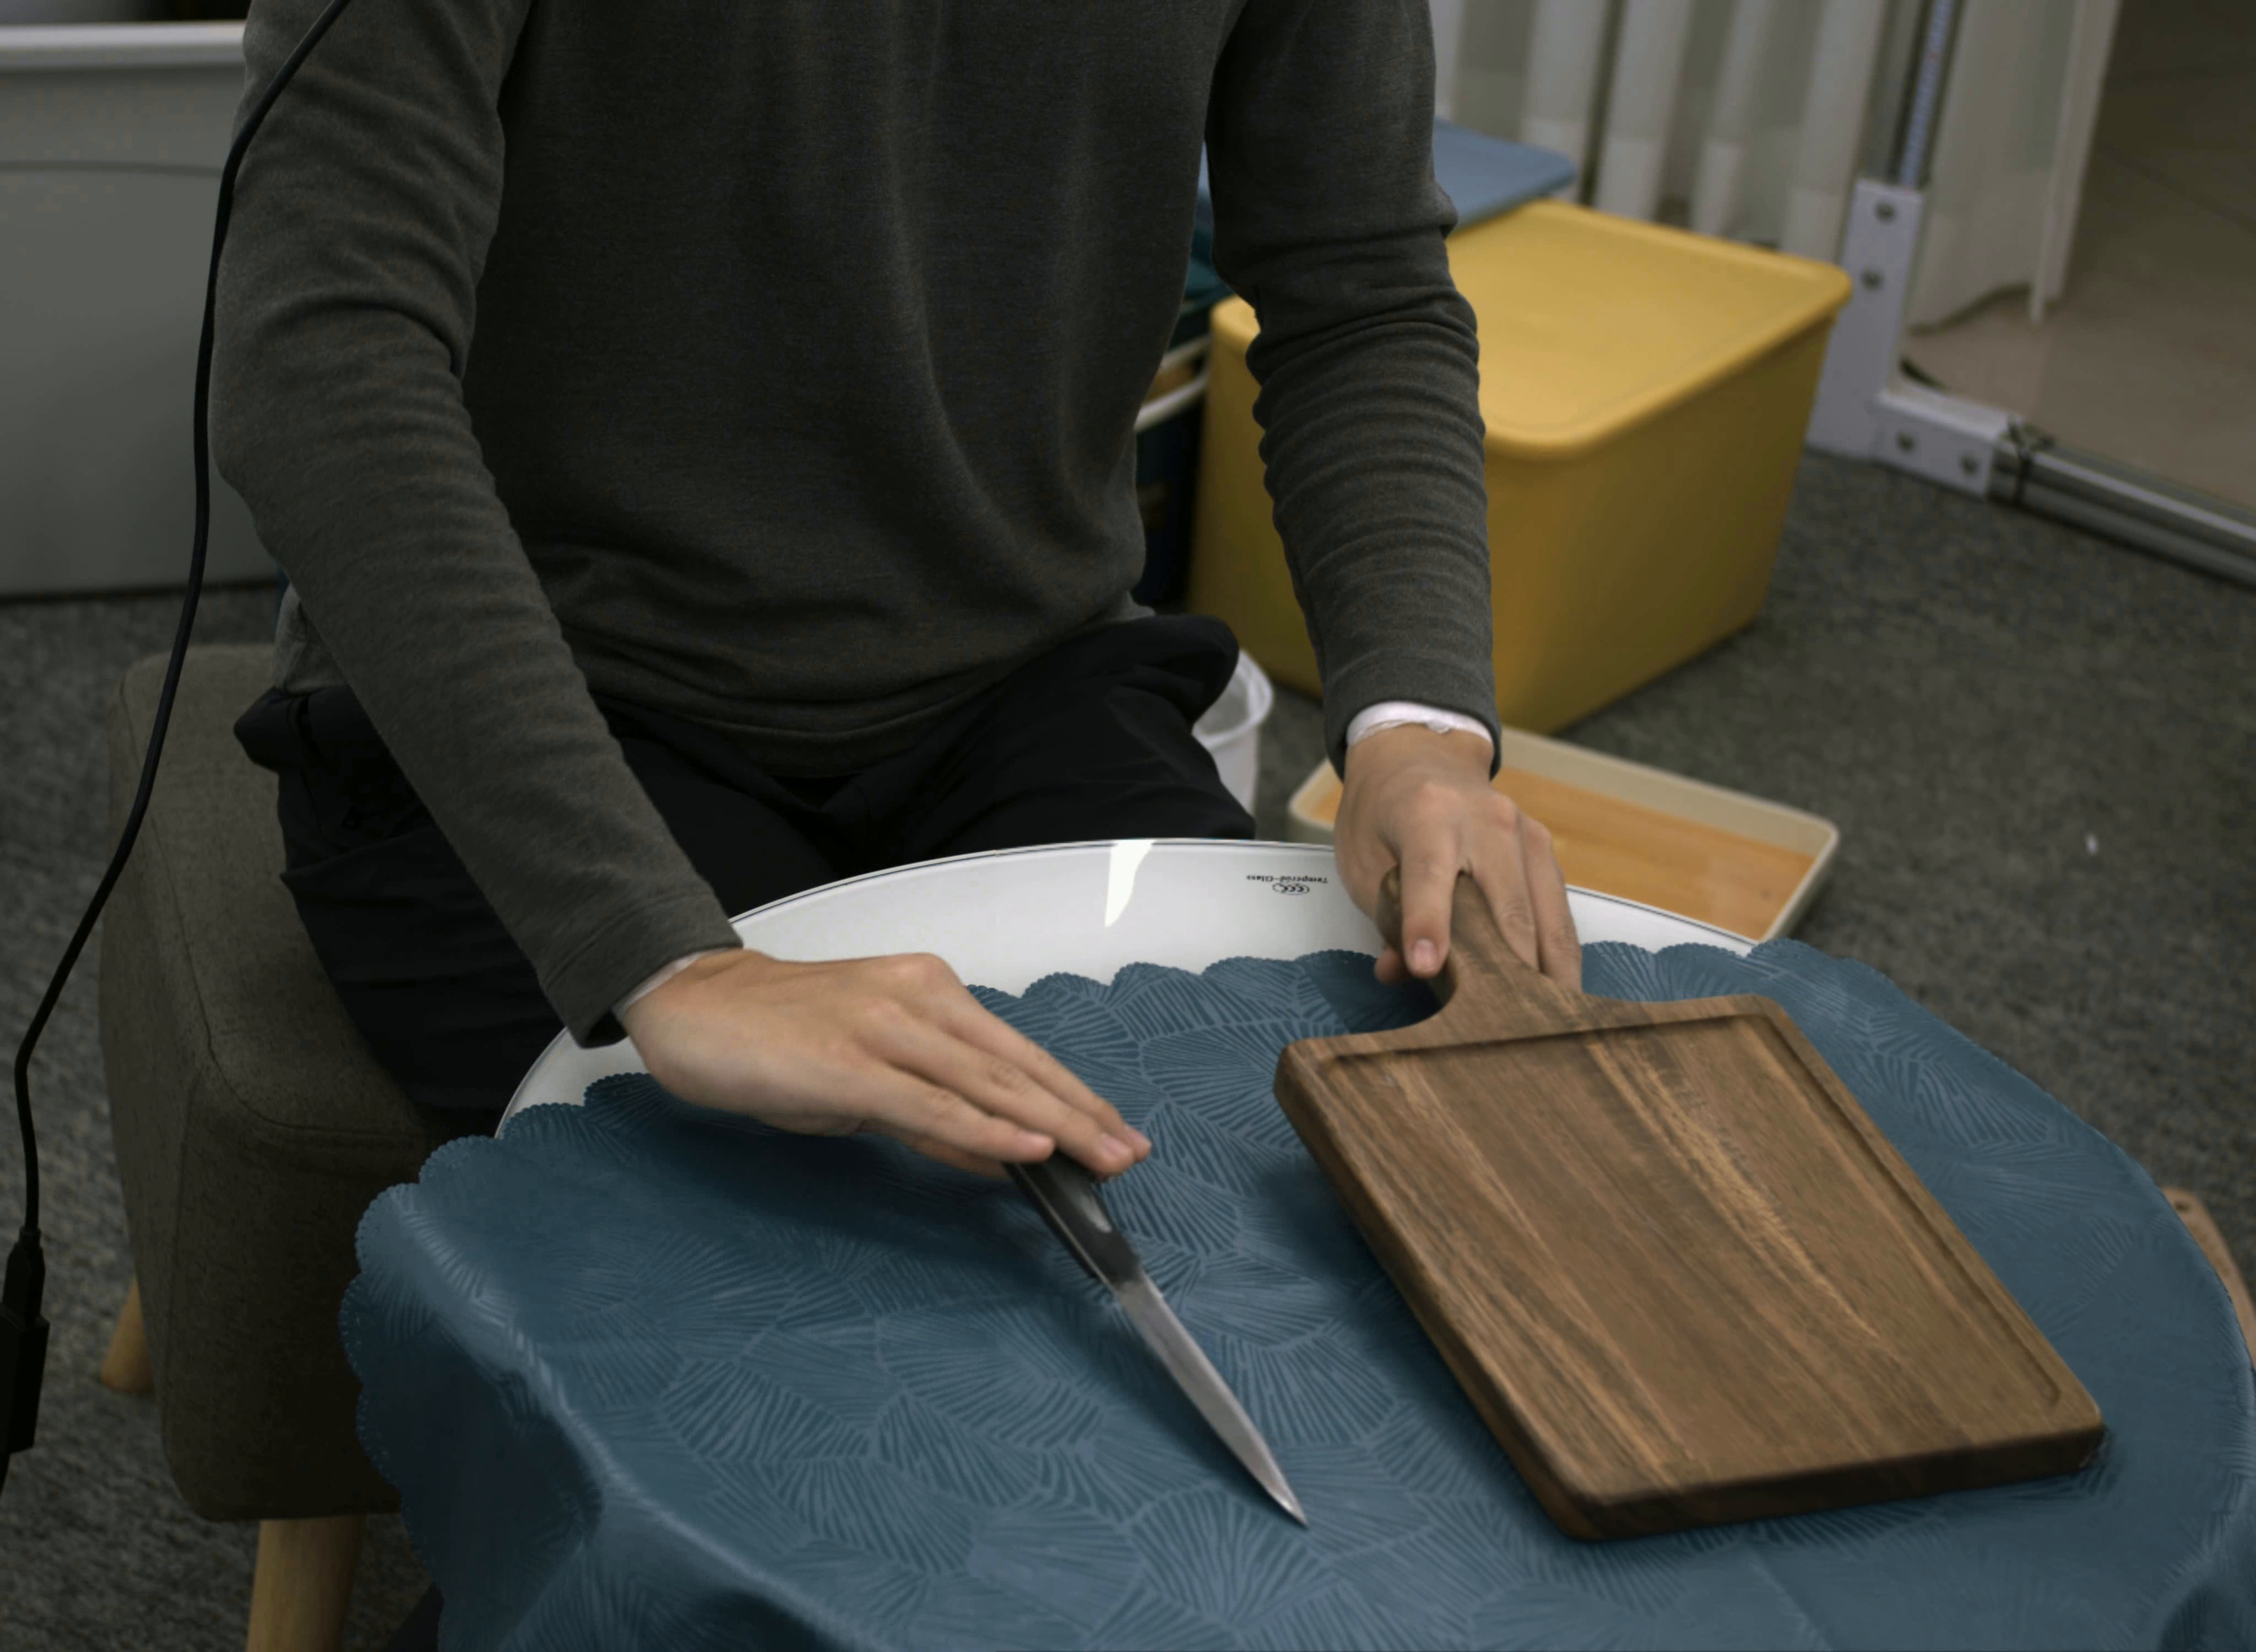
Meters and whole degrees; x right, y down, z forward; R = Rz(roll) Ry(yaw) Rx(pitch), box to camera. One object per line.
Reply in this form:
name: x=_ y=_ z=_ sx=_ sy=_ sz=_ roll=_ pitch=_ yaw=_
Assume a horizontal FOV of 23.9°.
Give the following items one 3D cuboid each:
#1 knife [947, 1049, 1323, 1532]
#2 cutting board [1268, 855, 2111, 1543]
knife: x=0.000 y=0.148 z=1.714 sx=0.024 sy=0.016 sz=0.240 roll=5 pitch=32 yaw=-38
cutting board: x=0.165 y=0.113 z=1.805 sx=0.200 sy=0.023 sz=0.355 roll=-5 pitch=34 yaw=-22
